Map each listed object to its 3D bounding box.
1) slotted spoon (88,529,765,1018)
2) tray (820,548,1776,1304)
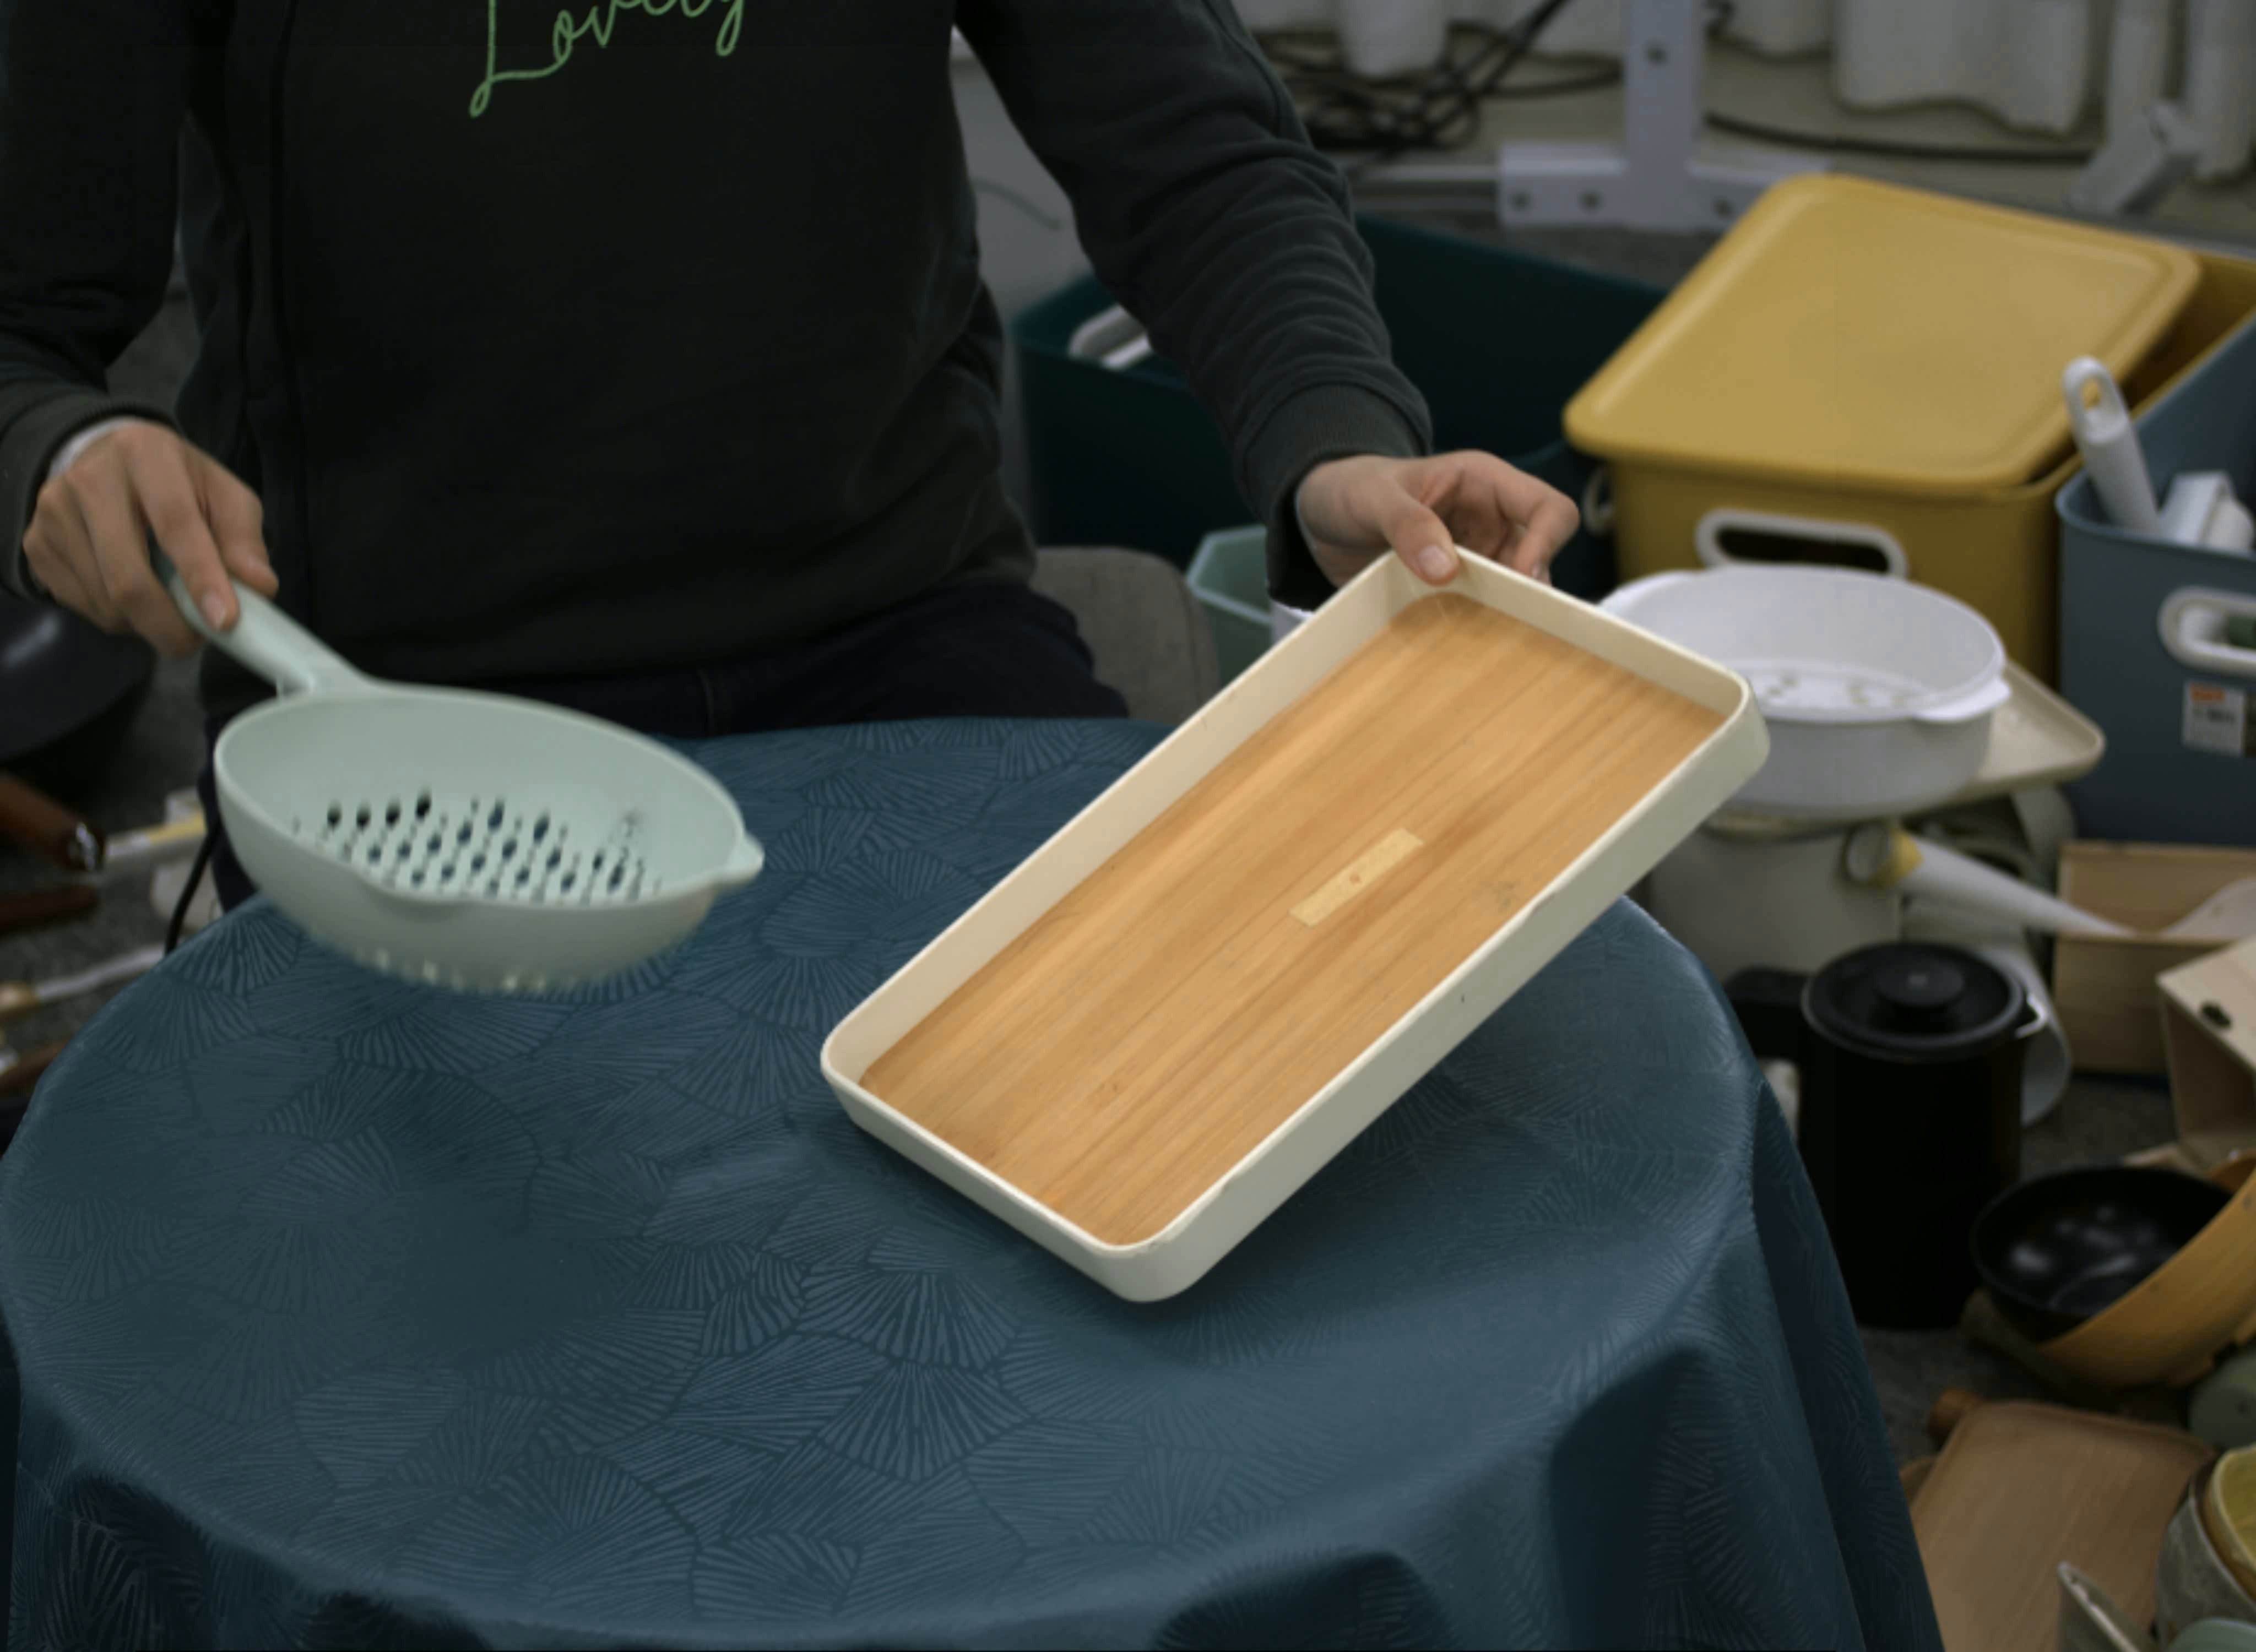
[{"bbox_3d":[-0.261,-0.032,1.857,0.170,0.074,0.361,-2,33,-36],"label":"slotted spoon"},{"bbox_3d":[0.056,0.028,1.889,0.303,0.027,0.192,-40,38,-20],"label":"tray"}]
